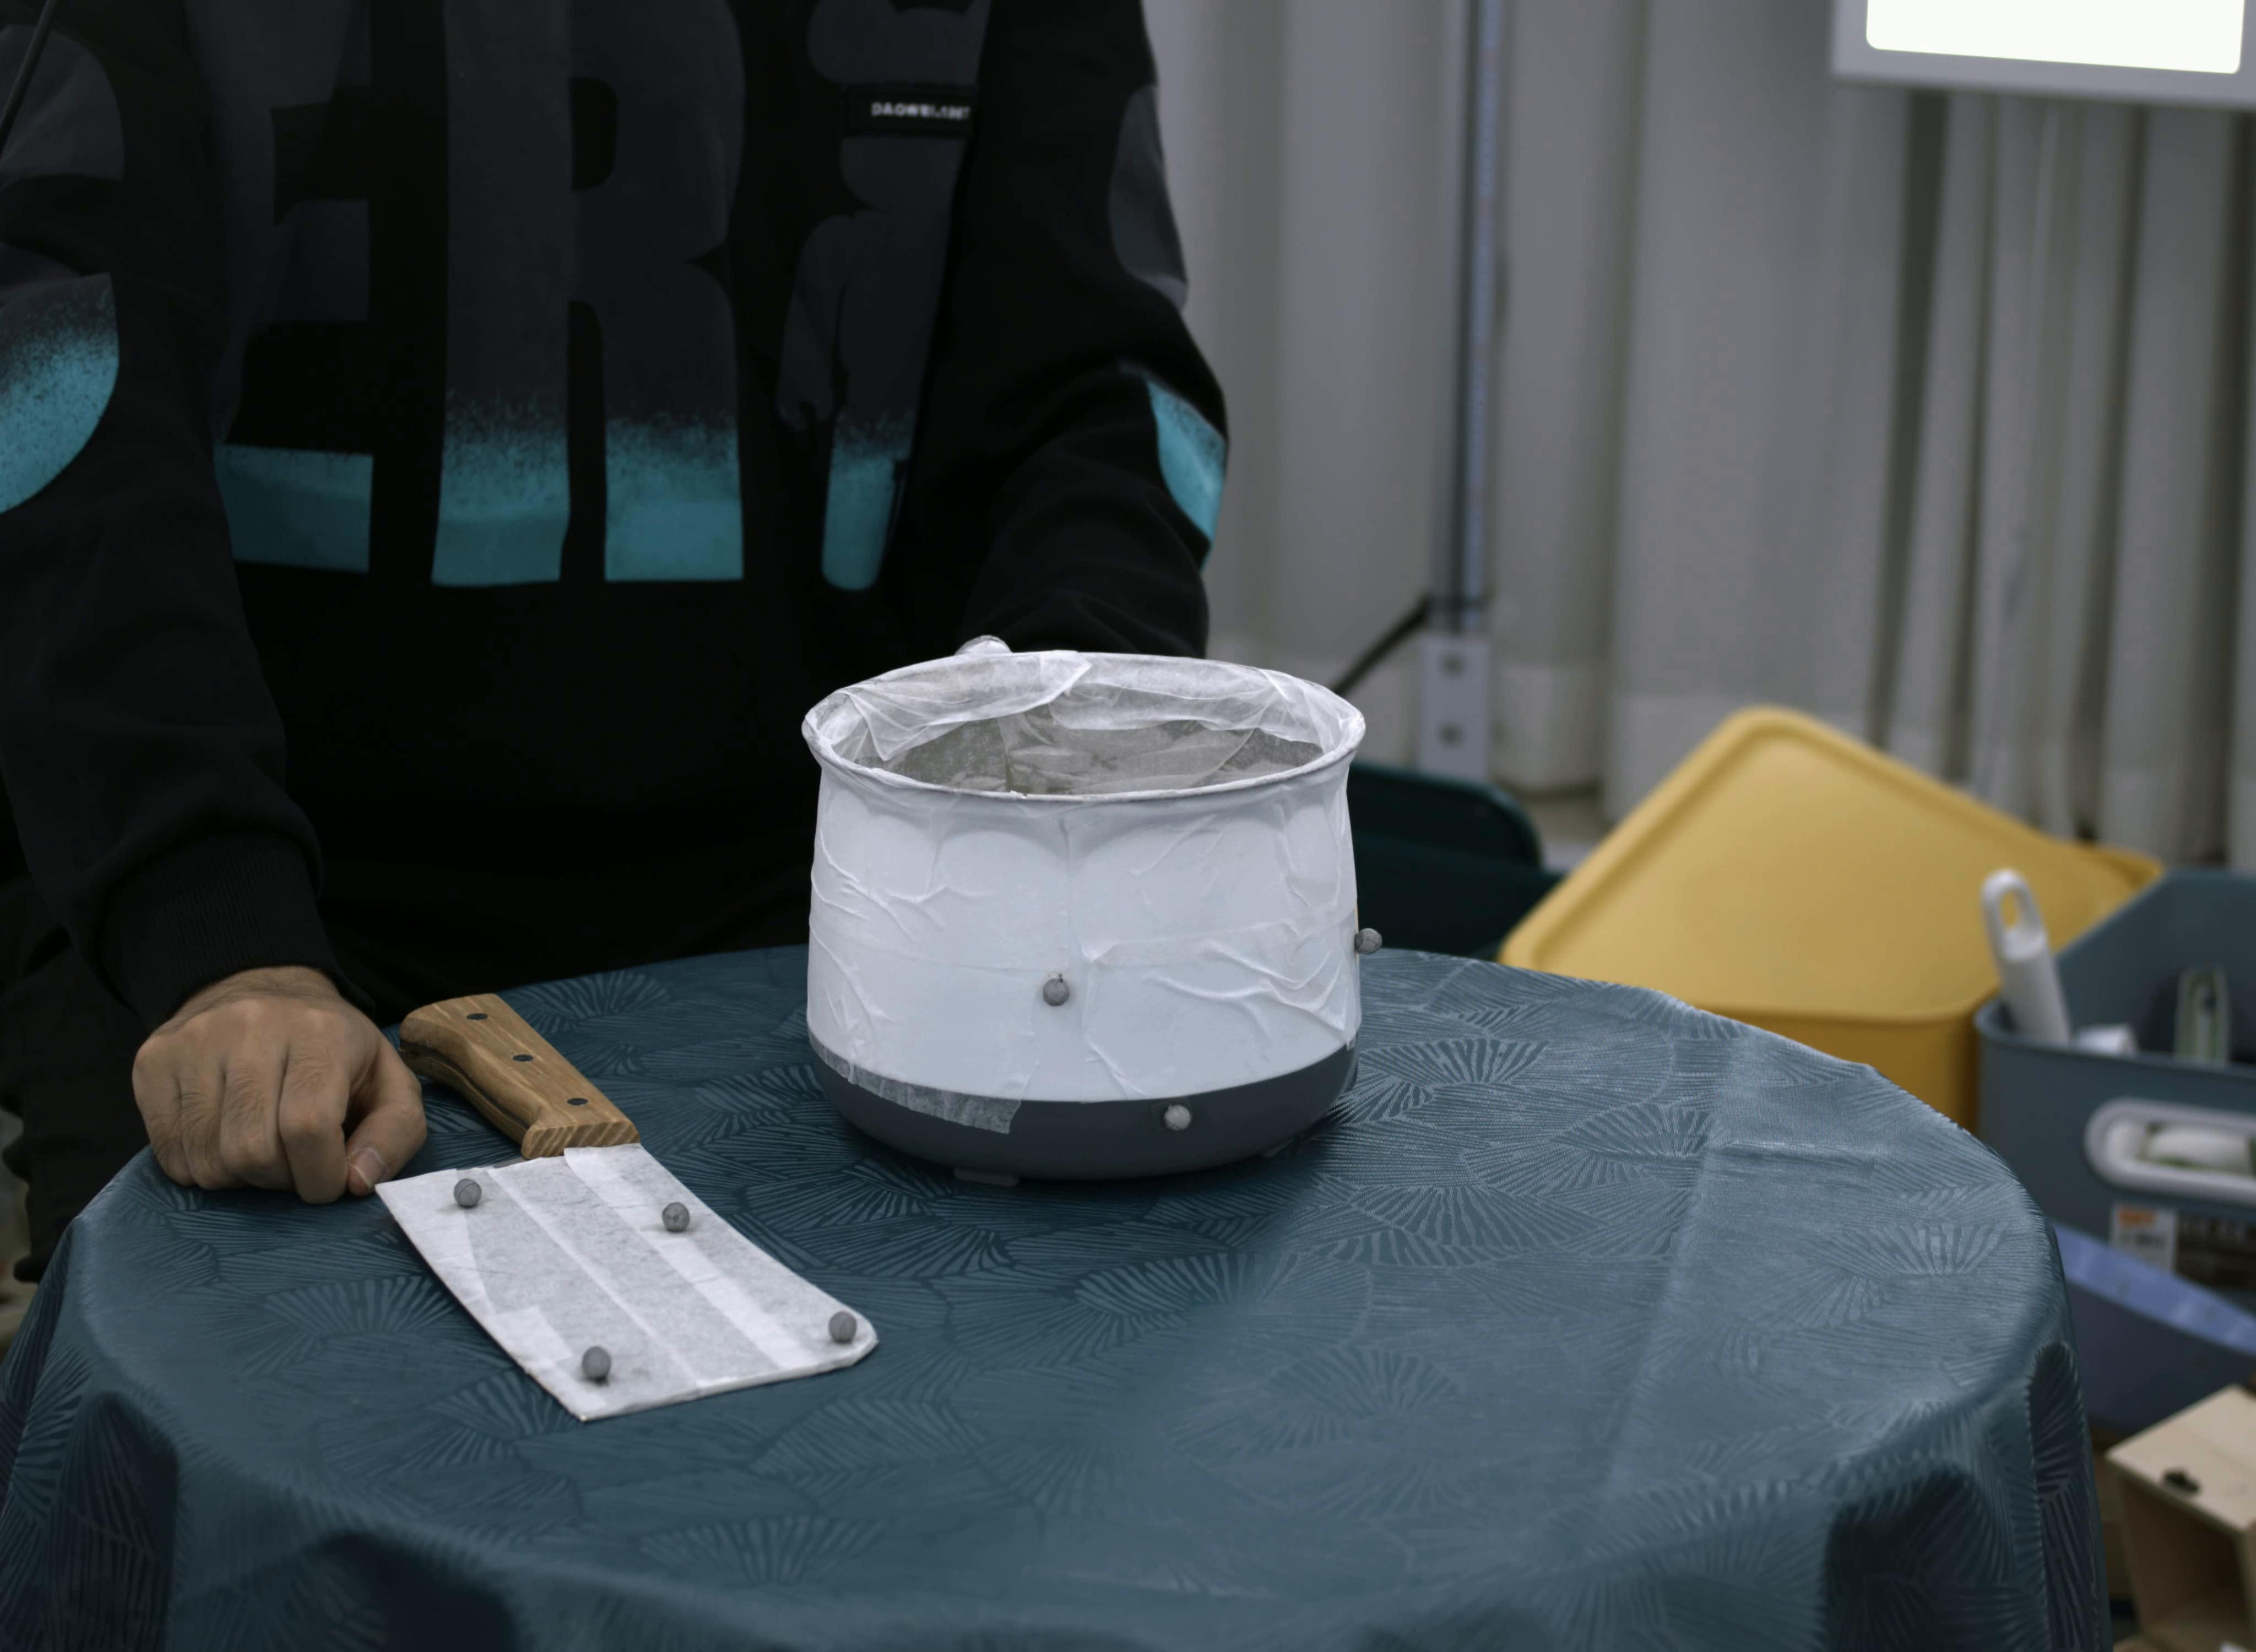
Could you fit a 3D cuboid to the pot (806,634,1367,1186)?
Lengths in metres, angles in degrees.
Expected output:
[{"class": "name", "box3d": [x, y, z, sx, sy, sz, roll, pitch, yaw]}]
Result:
[{"class": "pot", "box3d": [-0.024, 0.021, 1.693, 0.179, 0.138, 0.231, -5, 17, -21]}]

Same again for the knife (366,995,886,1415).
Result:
[{"class": "knife", "box3d": [-0.168, 0.111, 1.588, 0.114, 0.022, 0.311, -6, 20, -22]}]
